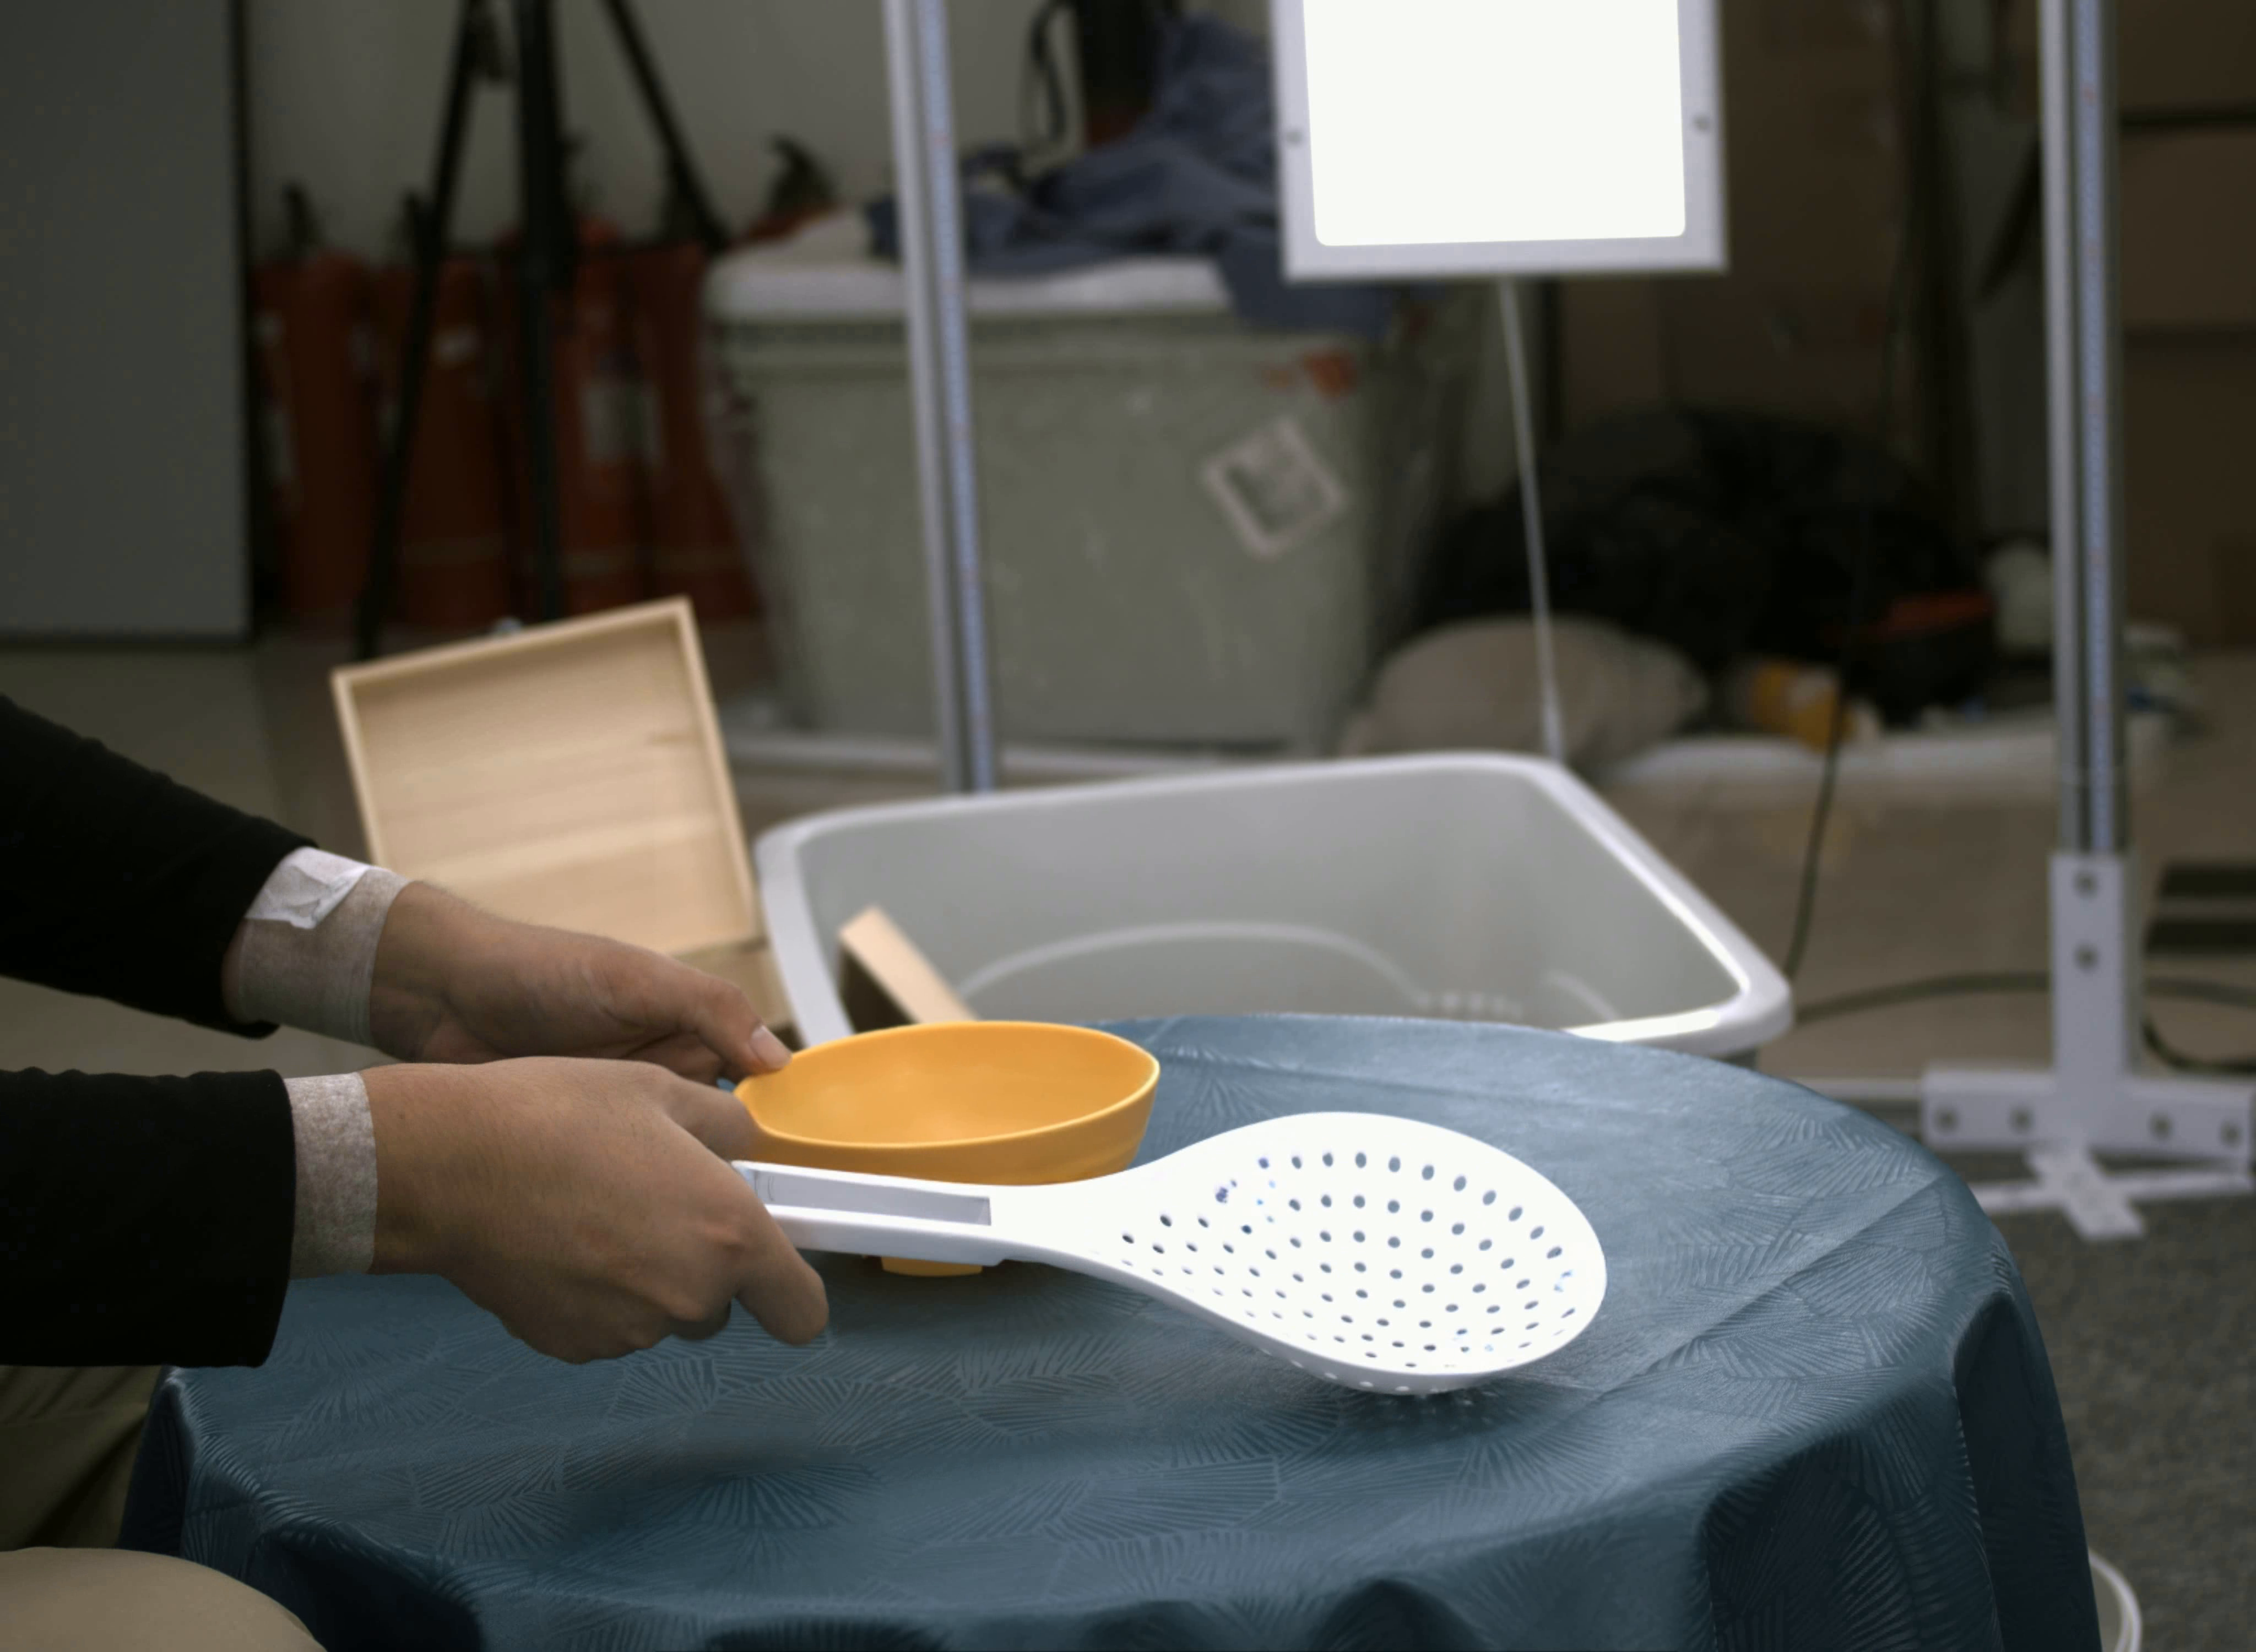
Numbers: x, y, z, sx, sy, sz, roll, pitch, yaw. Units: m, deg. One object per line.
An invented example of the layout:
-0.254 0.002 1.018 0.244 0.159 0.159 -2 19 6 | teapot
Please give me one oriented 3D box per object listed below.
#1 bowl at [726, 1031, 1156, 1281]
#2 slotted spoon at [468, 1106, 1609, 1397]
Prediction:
-0.061 0.115 1.850 0.145 0.060 0.145 -3 13 -1 | bowl
-0.026 0.123 1.683 0.346 0.046 0.136 9 32 -8 | slotted spoon
